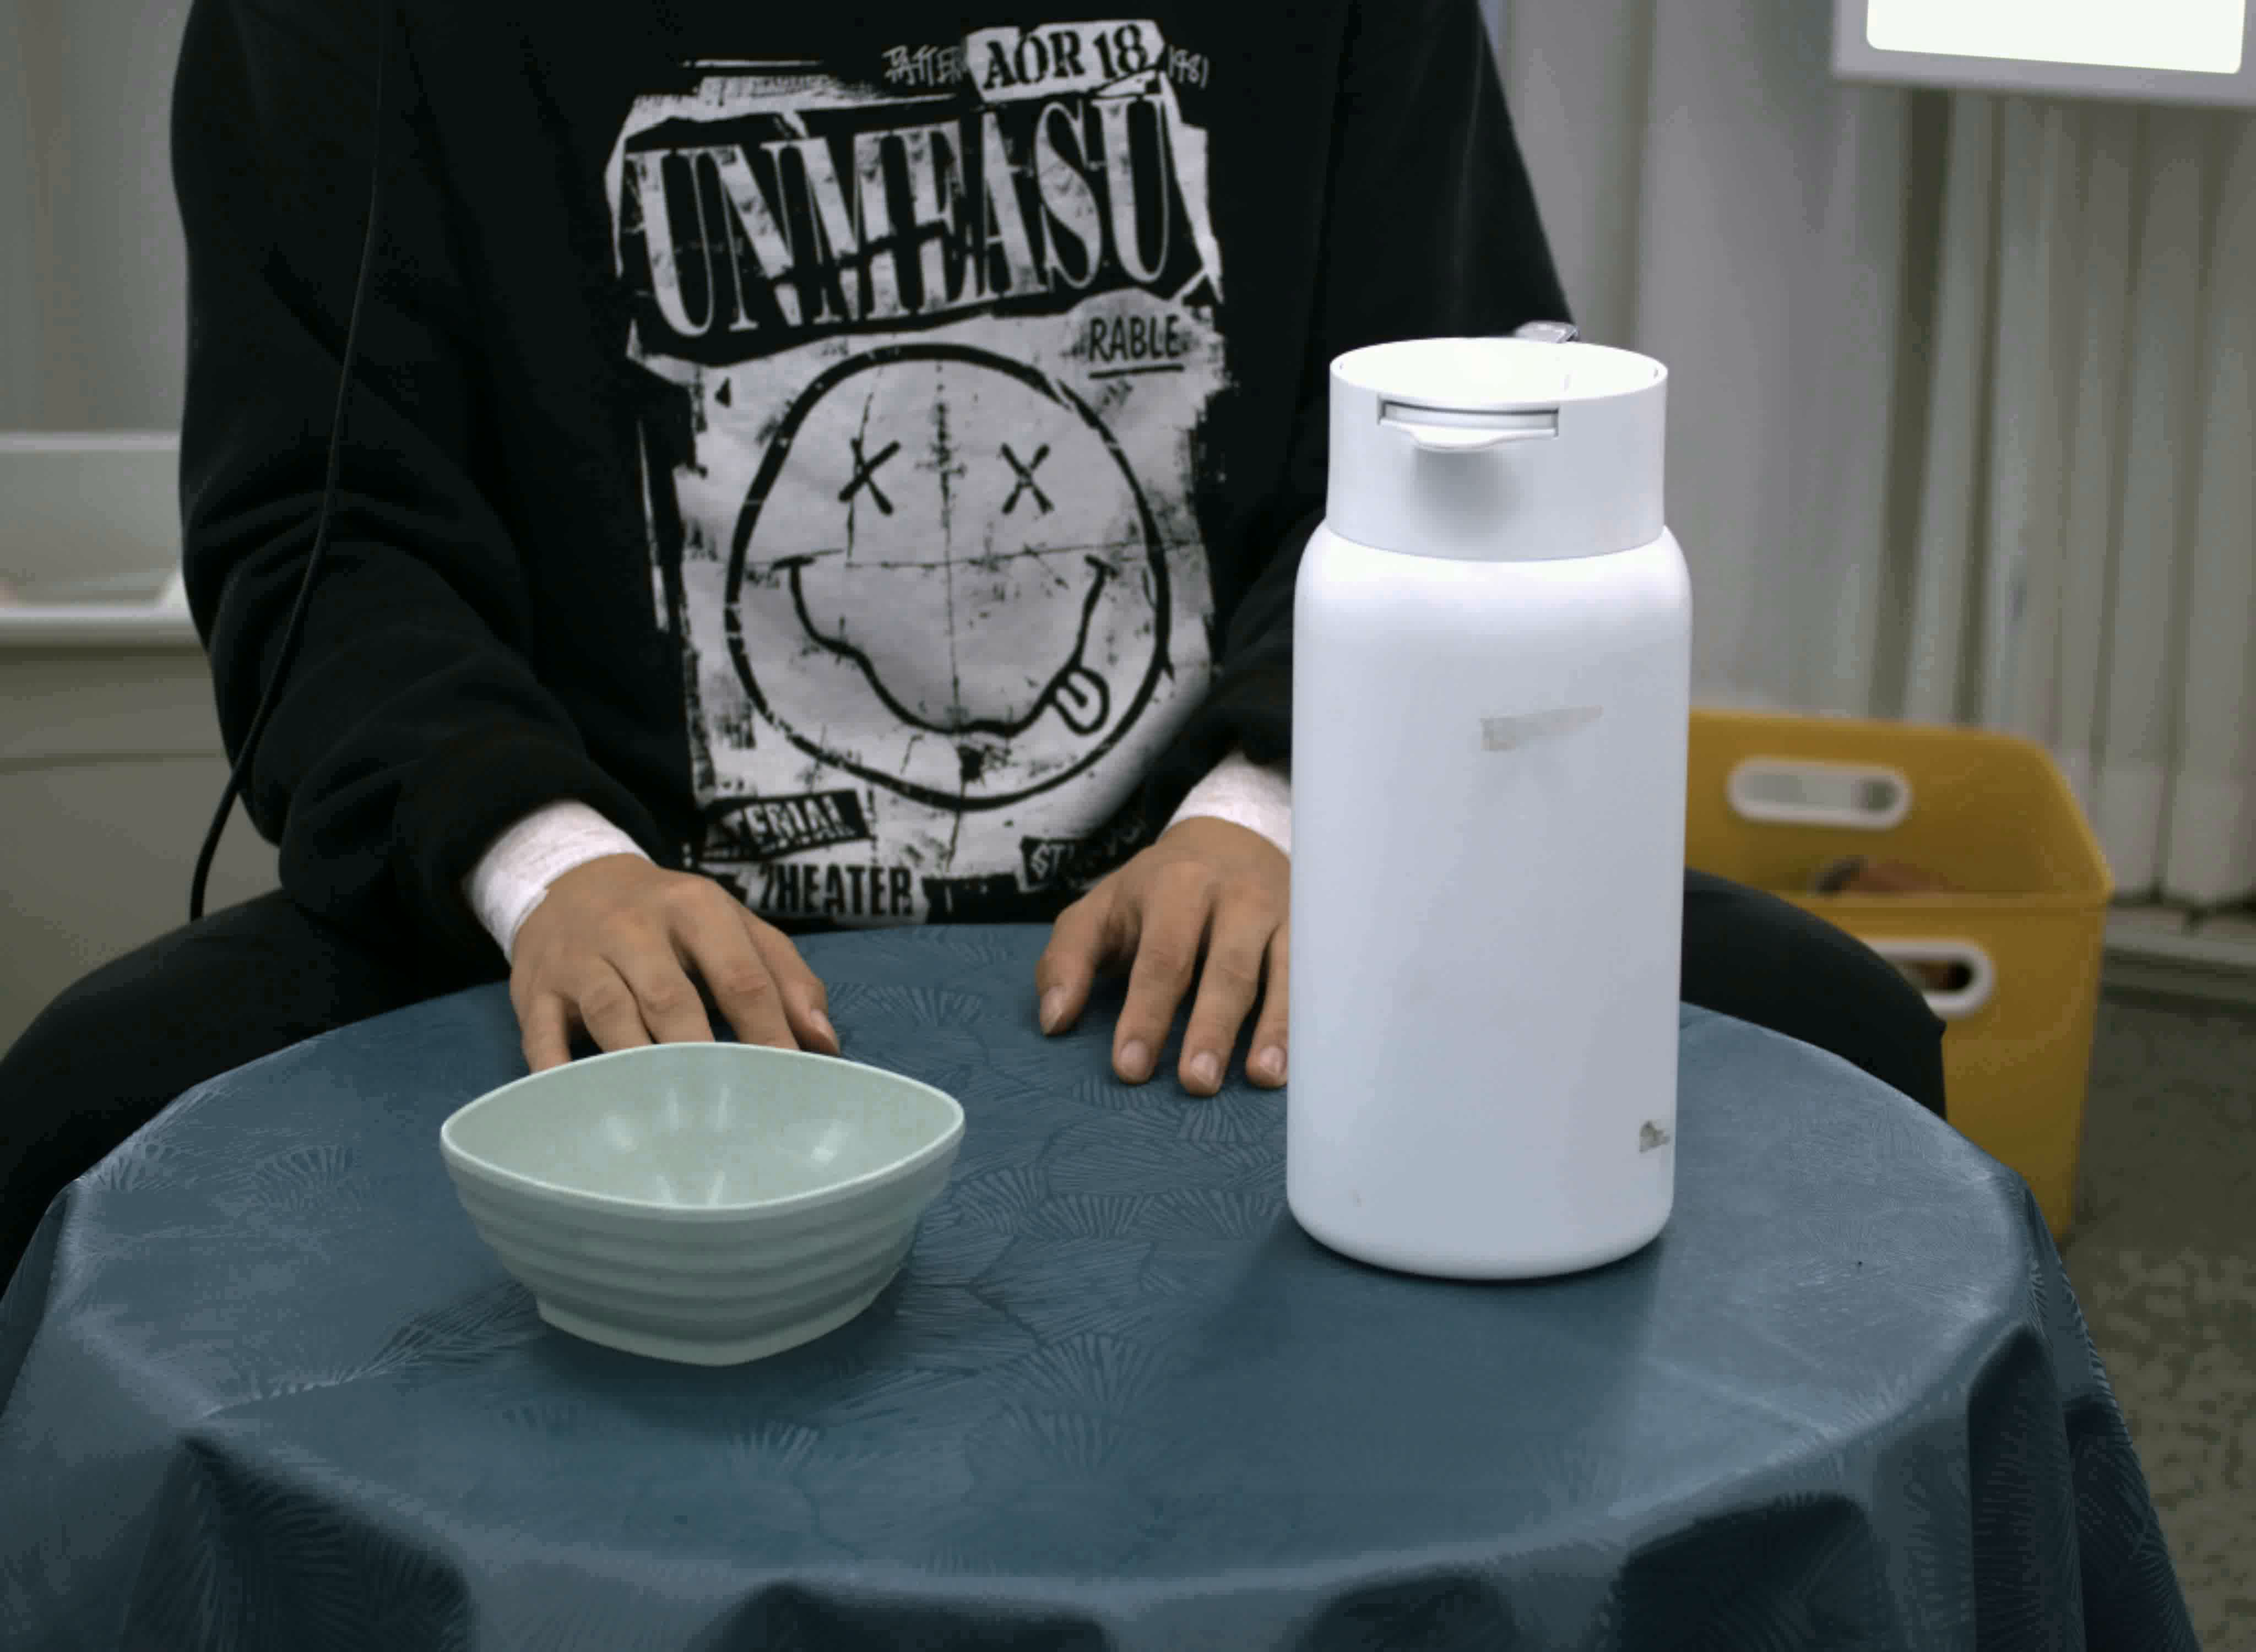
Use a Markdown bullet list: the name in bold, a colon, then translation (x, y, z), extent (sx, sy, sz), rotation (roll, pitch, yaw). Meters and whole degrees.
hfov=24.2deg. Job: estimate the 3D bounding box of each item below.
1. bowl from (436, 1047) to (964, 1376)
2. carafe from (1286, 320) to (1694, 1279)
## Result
- **bowl**: translation (-0.122, 0.114, 1.515), extent (0.151, 0.059, 0.150), rotation (1, 16, 0)
- **carafe**: translation (0.110, -0.012, 1.574), extent (0.123, 0.271, 0.172), rotation (2, 16, 14)
